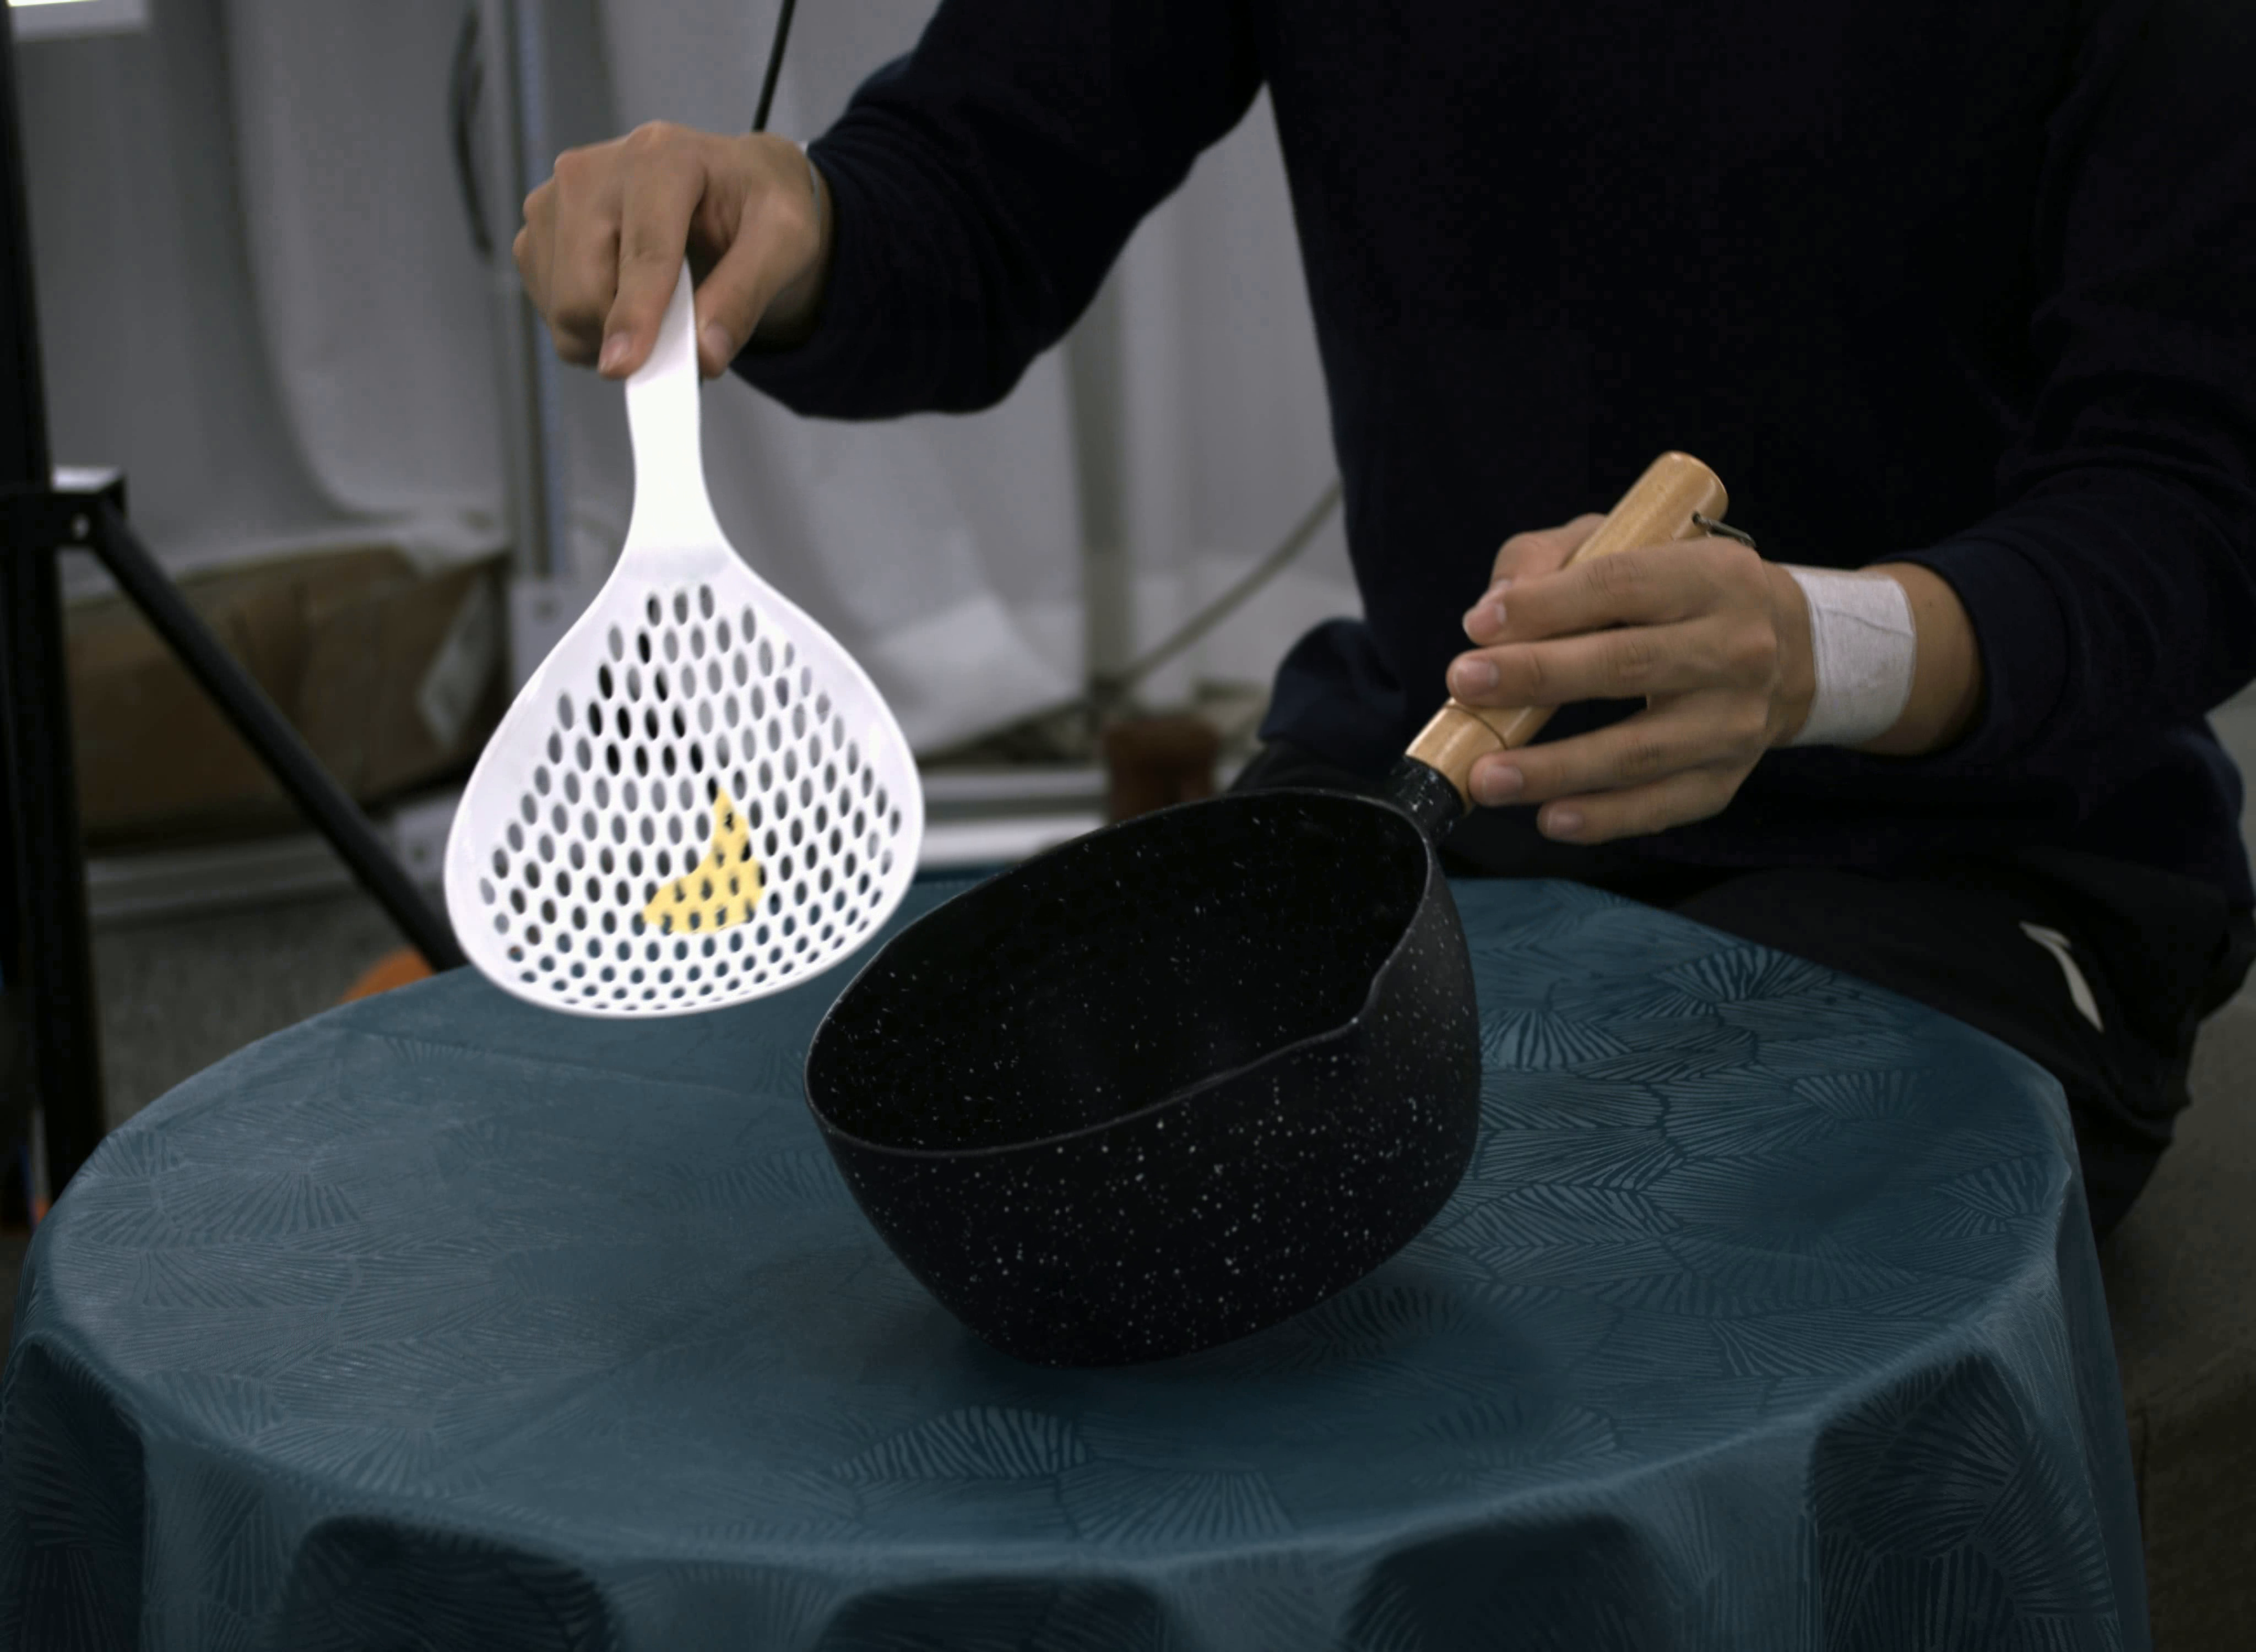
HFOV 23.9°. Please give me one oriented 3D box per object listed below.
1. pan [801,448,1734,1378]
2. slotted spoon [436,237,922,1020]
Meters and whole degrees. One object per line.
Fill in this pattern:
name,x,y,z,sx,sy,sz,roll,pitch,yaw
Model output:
pan,0.063,0.023,1.483,0.338,0.107,0.212,-37,26,-29
slotted spoon,-0.134,-0.069,1.549,0.136,0.049,0.353,-12,49,3
